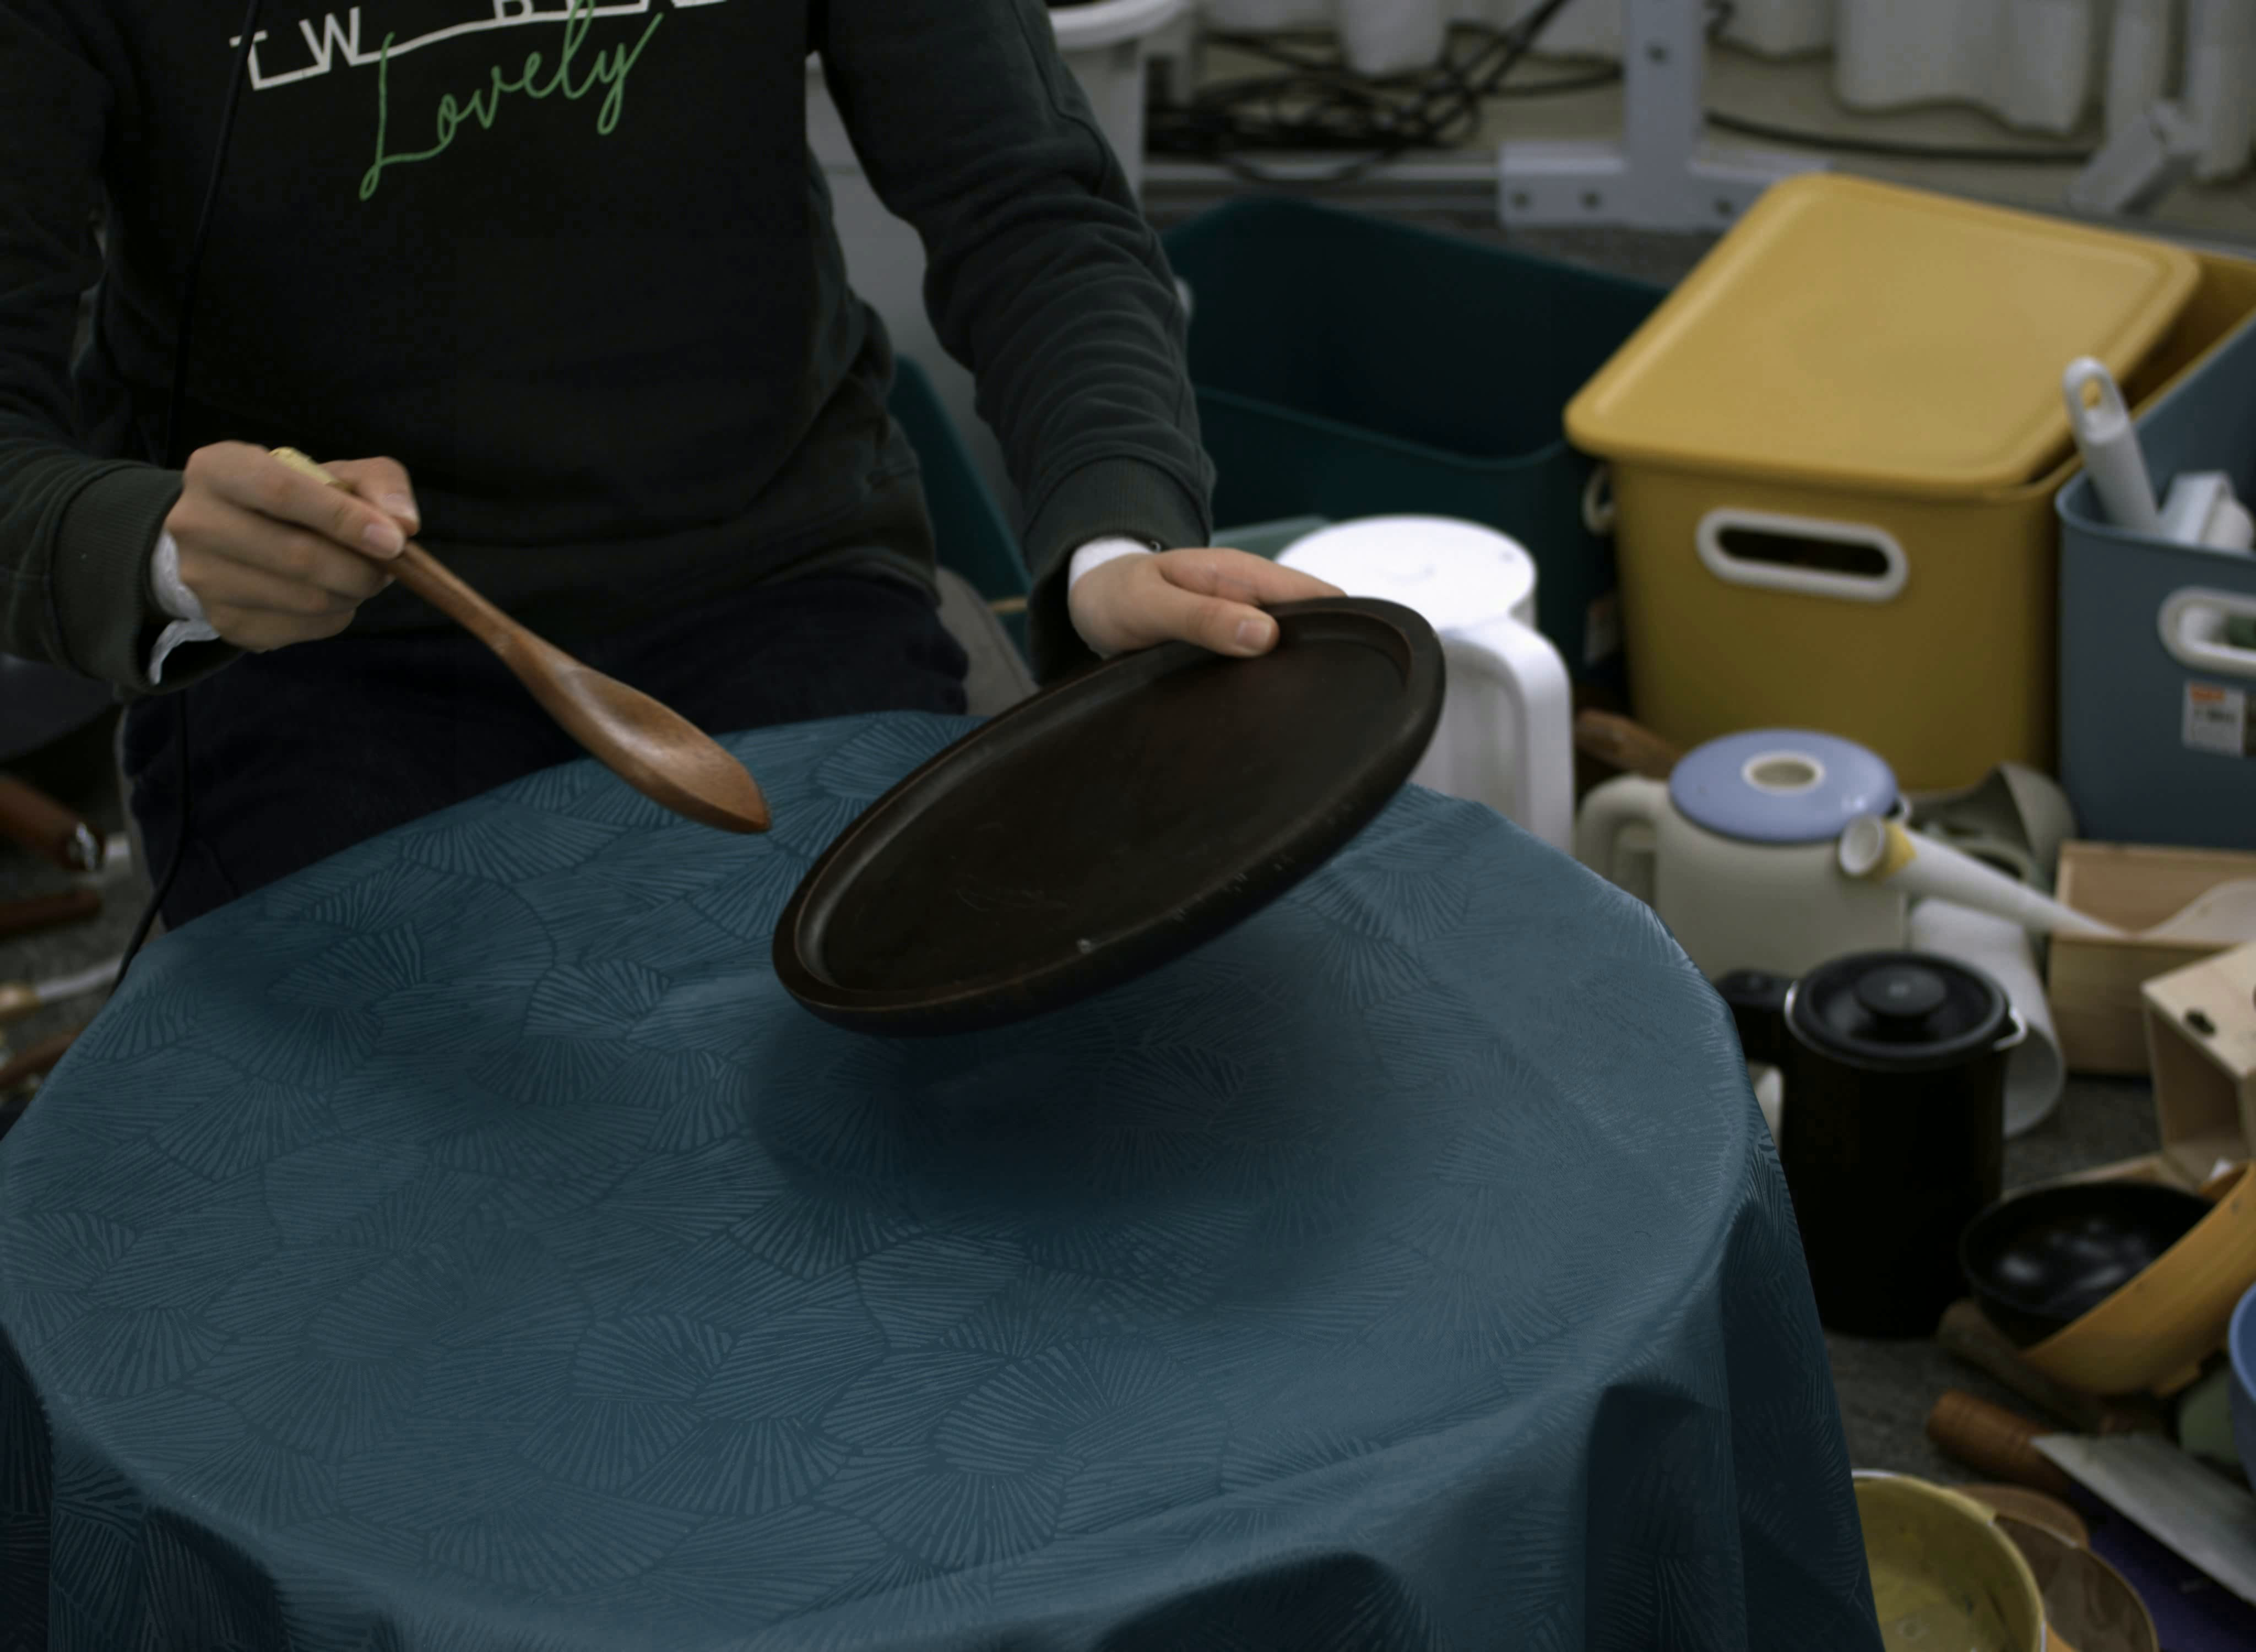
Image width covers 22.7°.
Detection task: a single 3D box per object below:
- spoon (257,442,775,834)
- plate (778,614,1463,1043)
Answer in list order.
[{"bbox_3d":[-0.206,-0.059,1.871,0.216,0.017,0.076,38,16,12],"label":"spoon"},{"bbox_3d":[-0.002,0.000,1.907,0.253,0.029,0.258,-22,21,9],"label":"plate"}]
